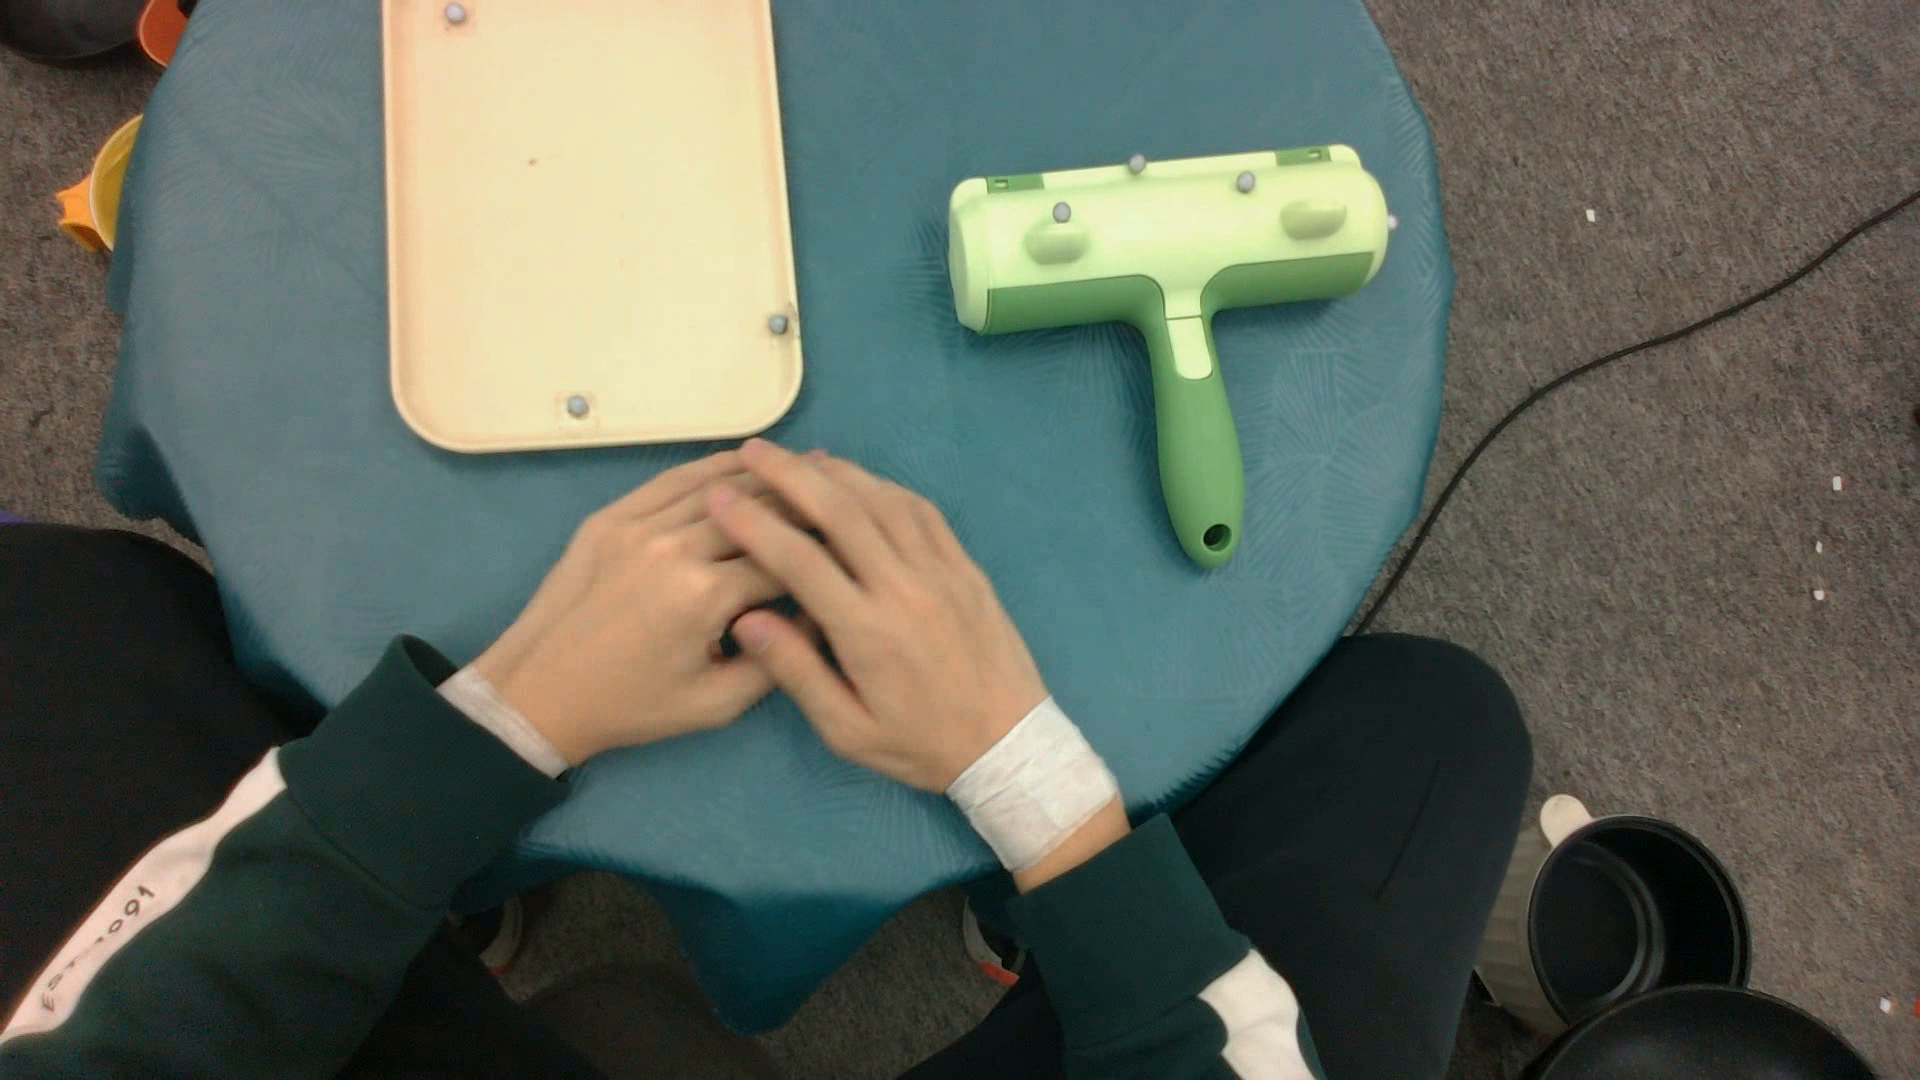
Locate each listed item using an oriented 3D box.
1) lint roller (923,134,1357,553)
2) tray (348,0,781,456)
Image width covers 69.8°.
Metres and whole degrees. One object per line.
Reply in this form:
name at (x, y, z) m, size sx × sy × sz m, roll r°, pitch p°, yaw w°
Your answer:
lint roller at (0.094, -0.090, 0.609) m, size 0.199 × 0.082 × 0.183 m, roll -8°, pitch 75°, yaw -11°
tray at (-0.175, -0.156, 0.612) m, size 0.171 × 0.017 × 0.240 m, roll -6°, pitch 78°, yaw -10°
